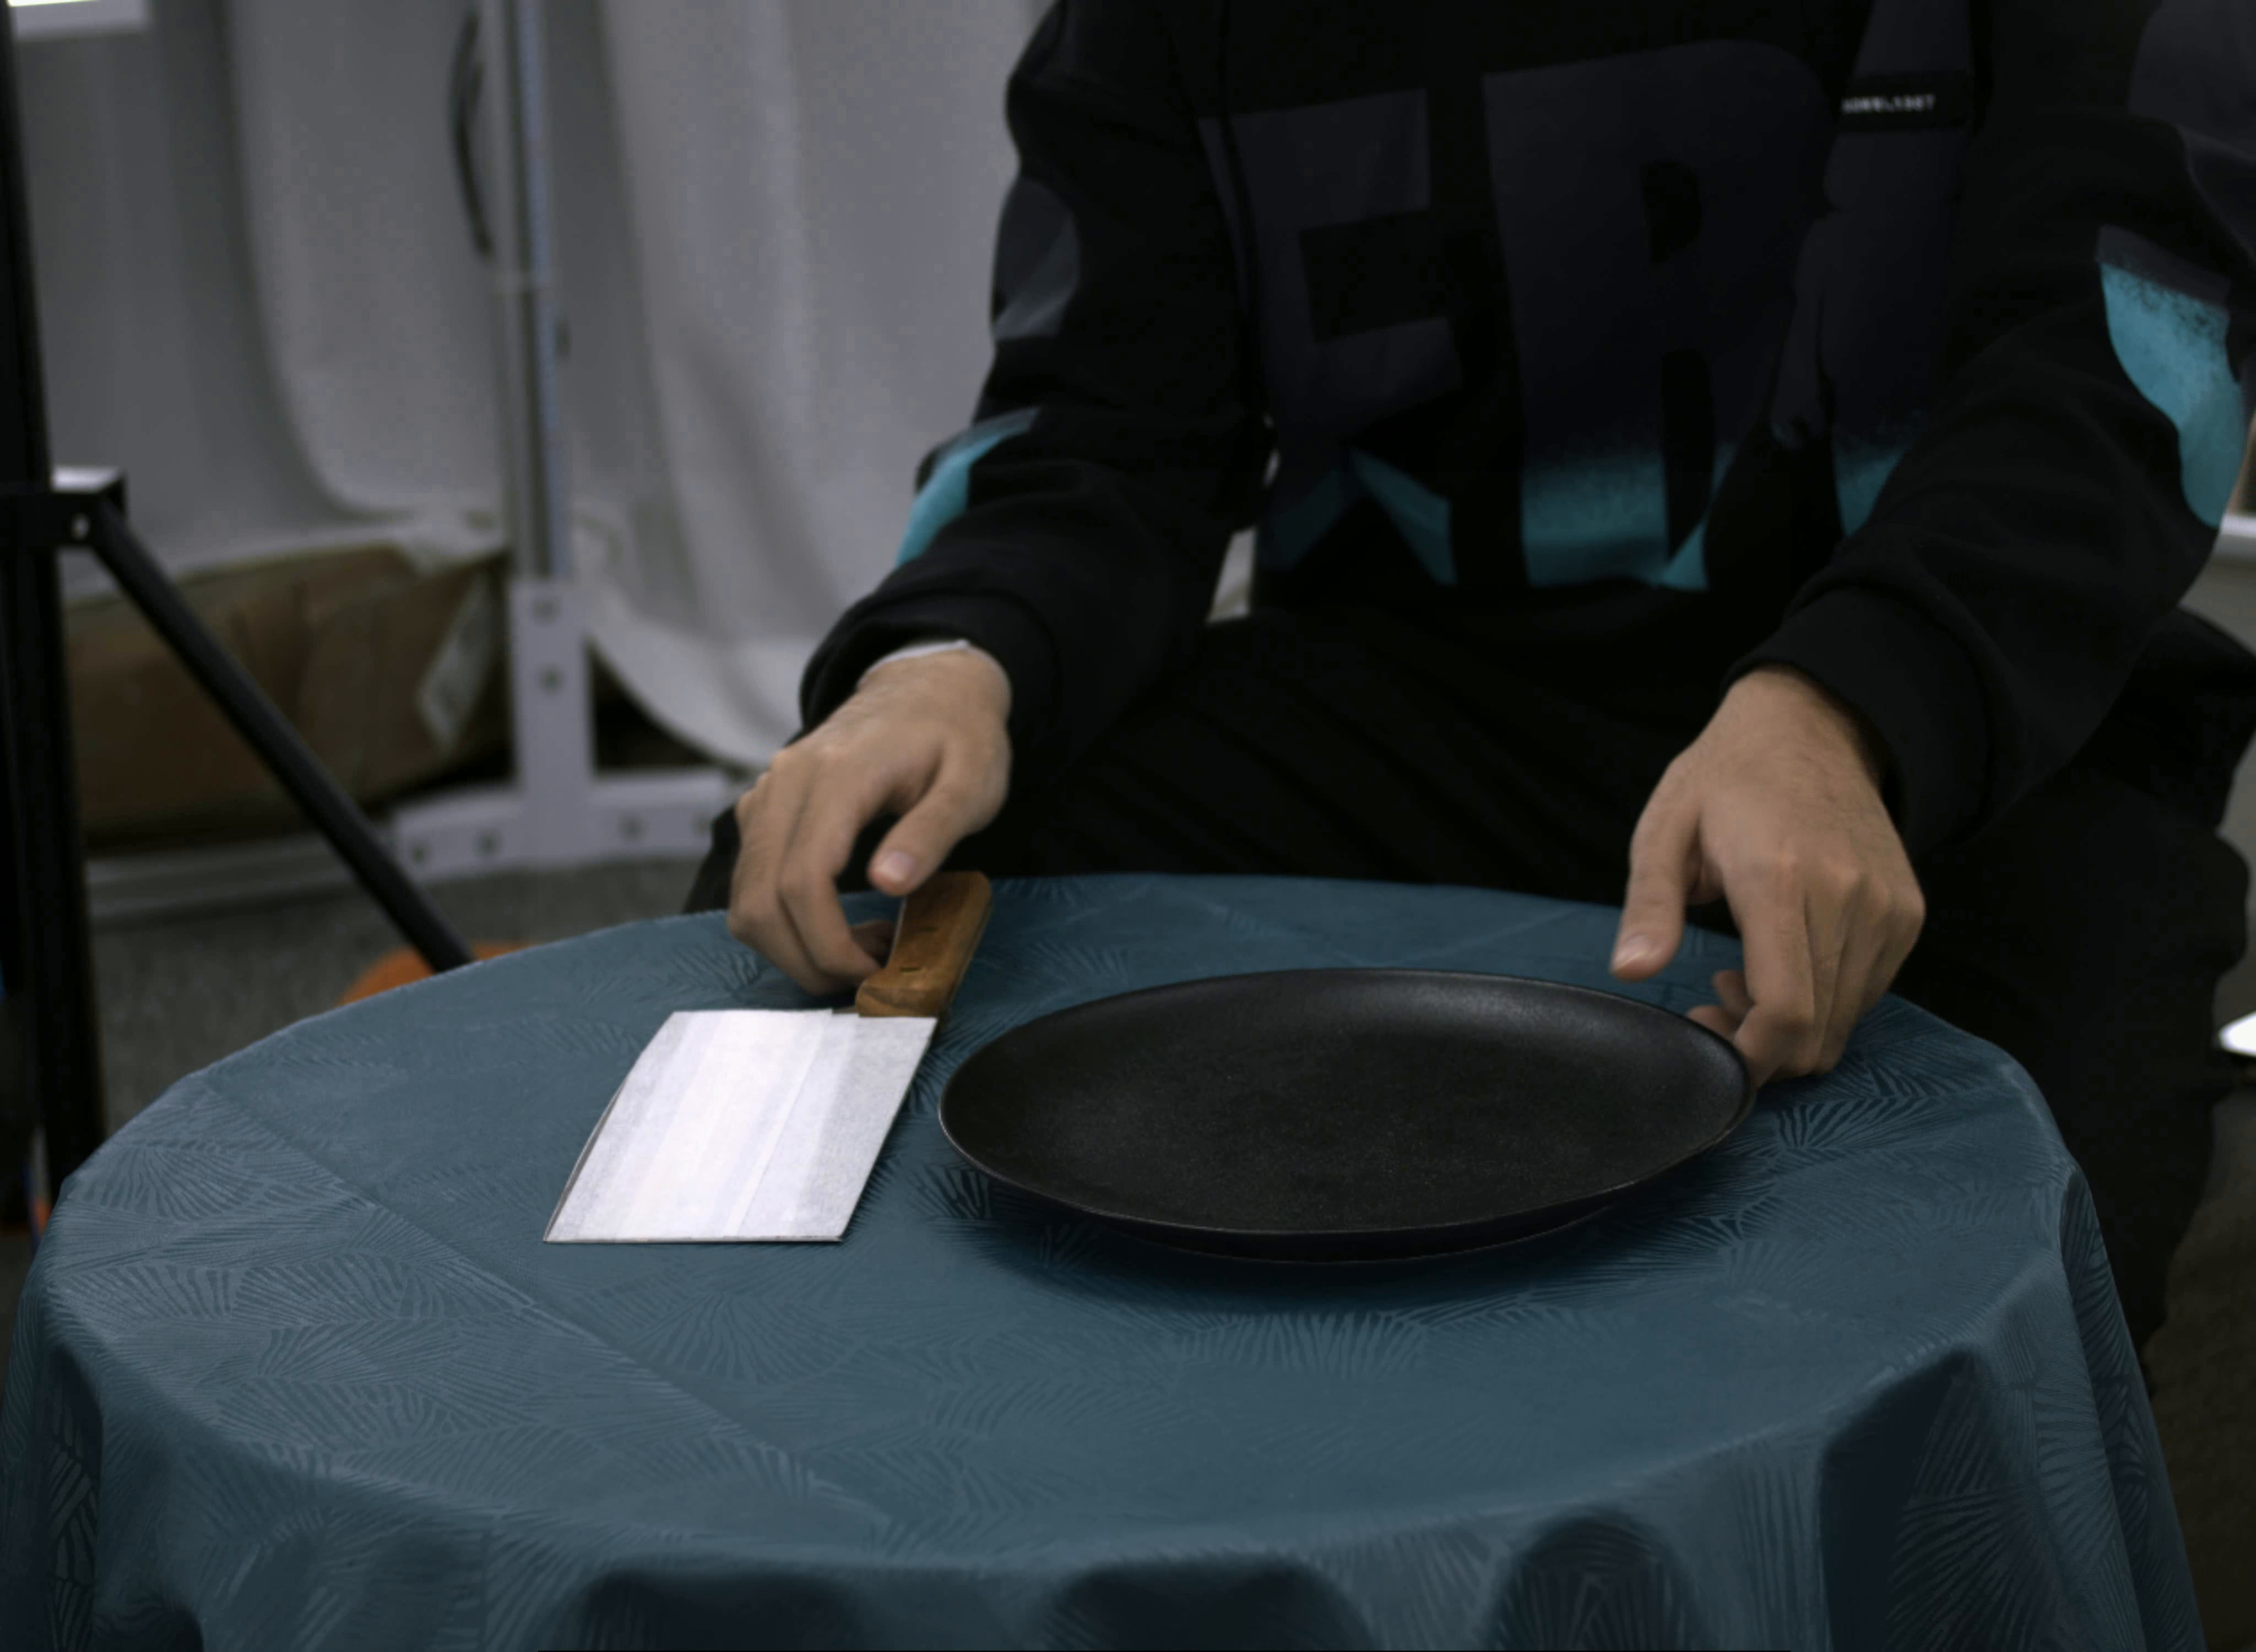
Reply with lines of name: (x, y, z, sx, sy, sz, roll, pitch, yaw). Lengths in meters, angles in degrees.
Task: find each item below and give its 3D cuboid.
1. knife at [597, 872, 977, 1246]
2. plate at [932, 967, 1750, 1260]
knife: (-0.106, 0.072, 1.677, 0.093, 0.021, 0.305, -2, 18, 8)
plate: (0.063, 0.088, 1.574, 0.243, 0.023, 0.245, -3, 16, -1)
